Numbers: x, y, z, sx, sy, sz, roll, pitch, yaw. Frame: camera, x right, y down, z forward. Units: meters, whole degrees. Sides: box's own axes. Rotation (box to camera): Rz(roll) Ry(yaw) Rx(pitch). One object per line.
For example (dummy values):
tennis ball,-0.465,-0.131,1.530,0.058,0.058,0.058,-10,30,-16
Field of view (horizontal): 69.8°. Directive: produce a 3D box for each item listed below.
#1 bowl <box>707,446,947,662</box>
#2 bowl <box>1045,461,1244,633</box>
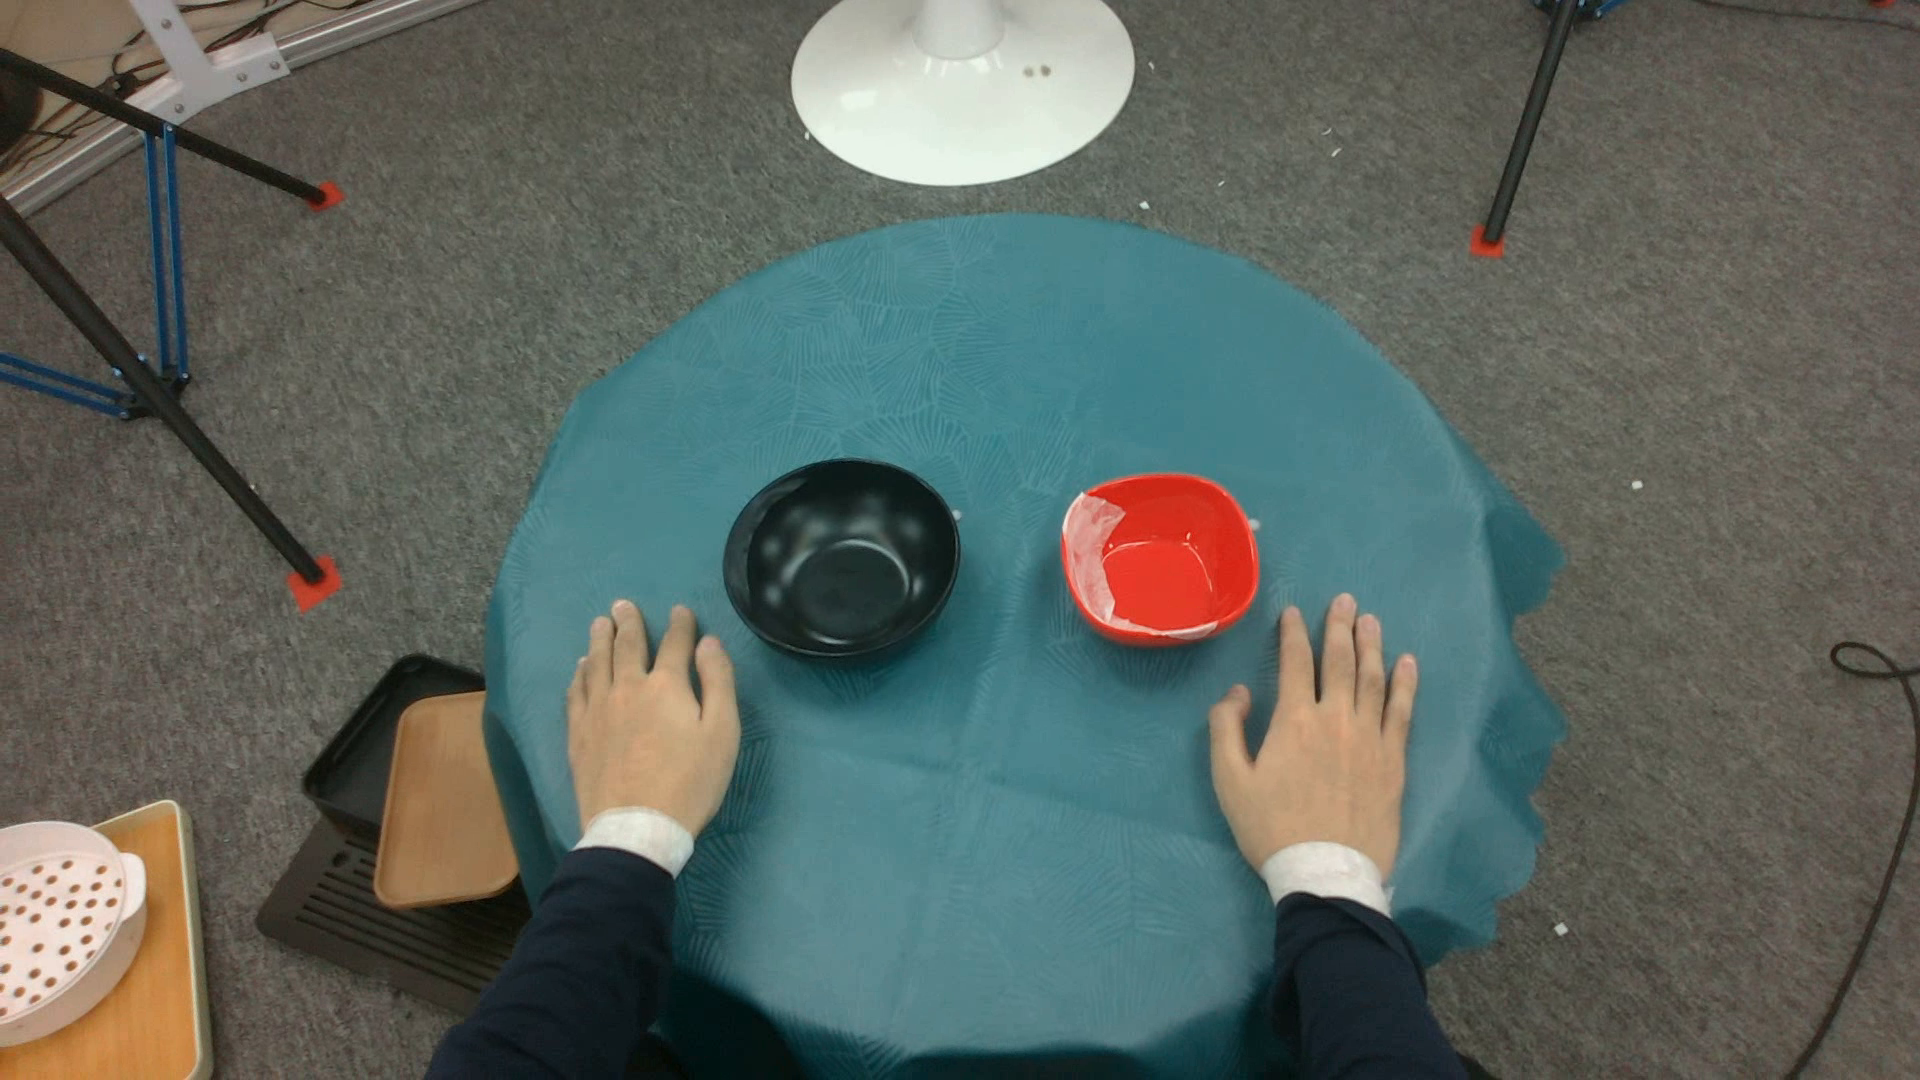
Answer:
bowl,-0.076,0.015,0.812,0.140,0.049,0.140,-1,60,2
bowl,0.105,0.012,0.797,0.119,0.051,0.119,-1,54,2
